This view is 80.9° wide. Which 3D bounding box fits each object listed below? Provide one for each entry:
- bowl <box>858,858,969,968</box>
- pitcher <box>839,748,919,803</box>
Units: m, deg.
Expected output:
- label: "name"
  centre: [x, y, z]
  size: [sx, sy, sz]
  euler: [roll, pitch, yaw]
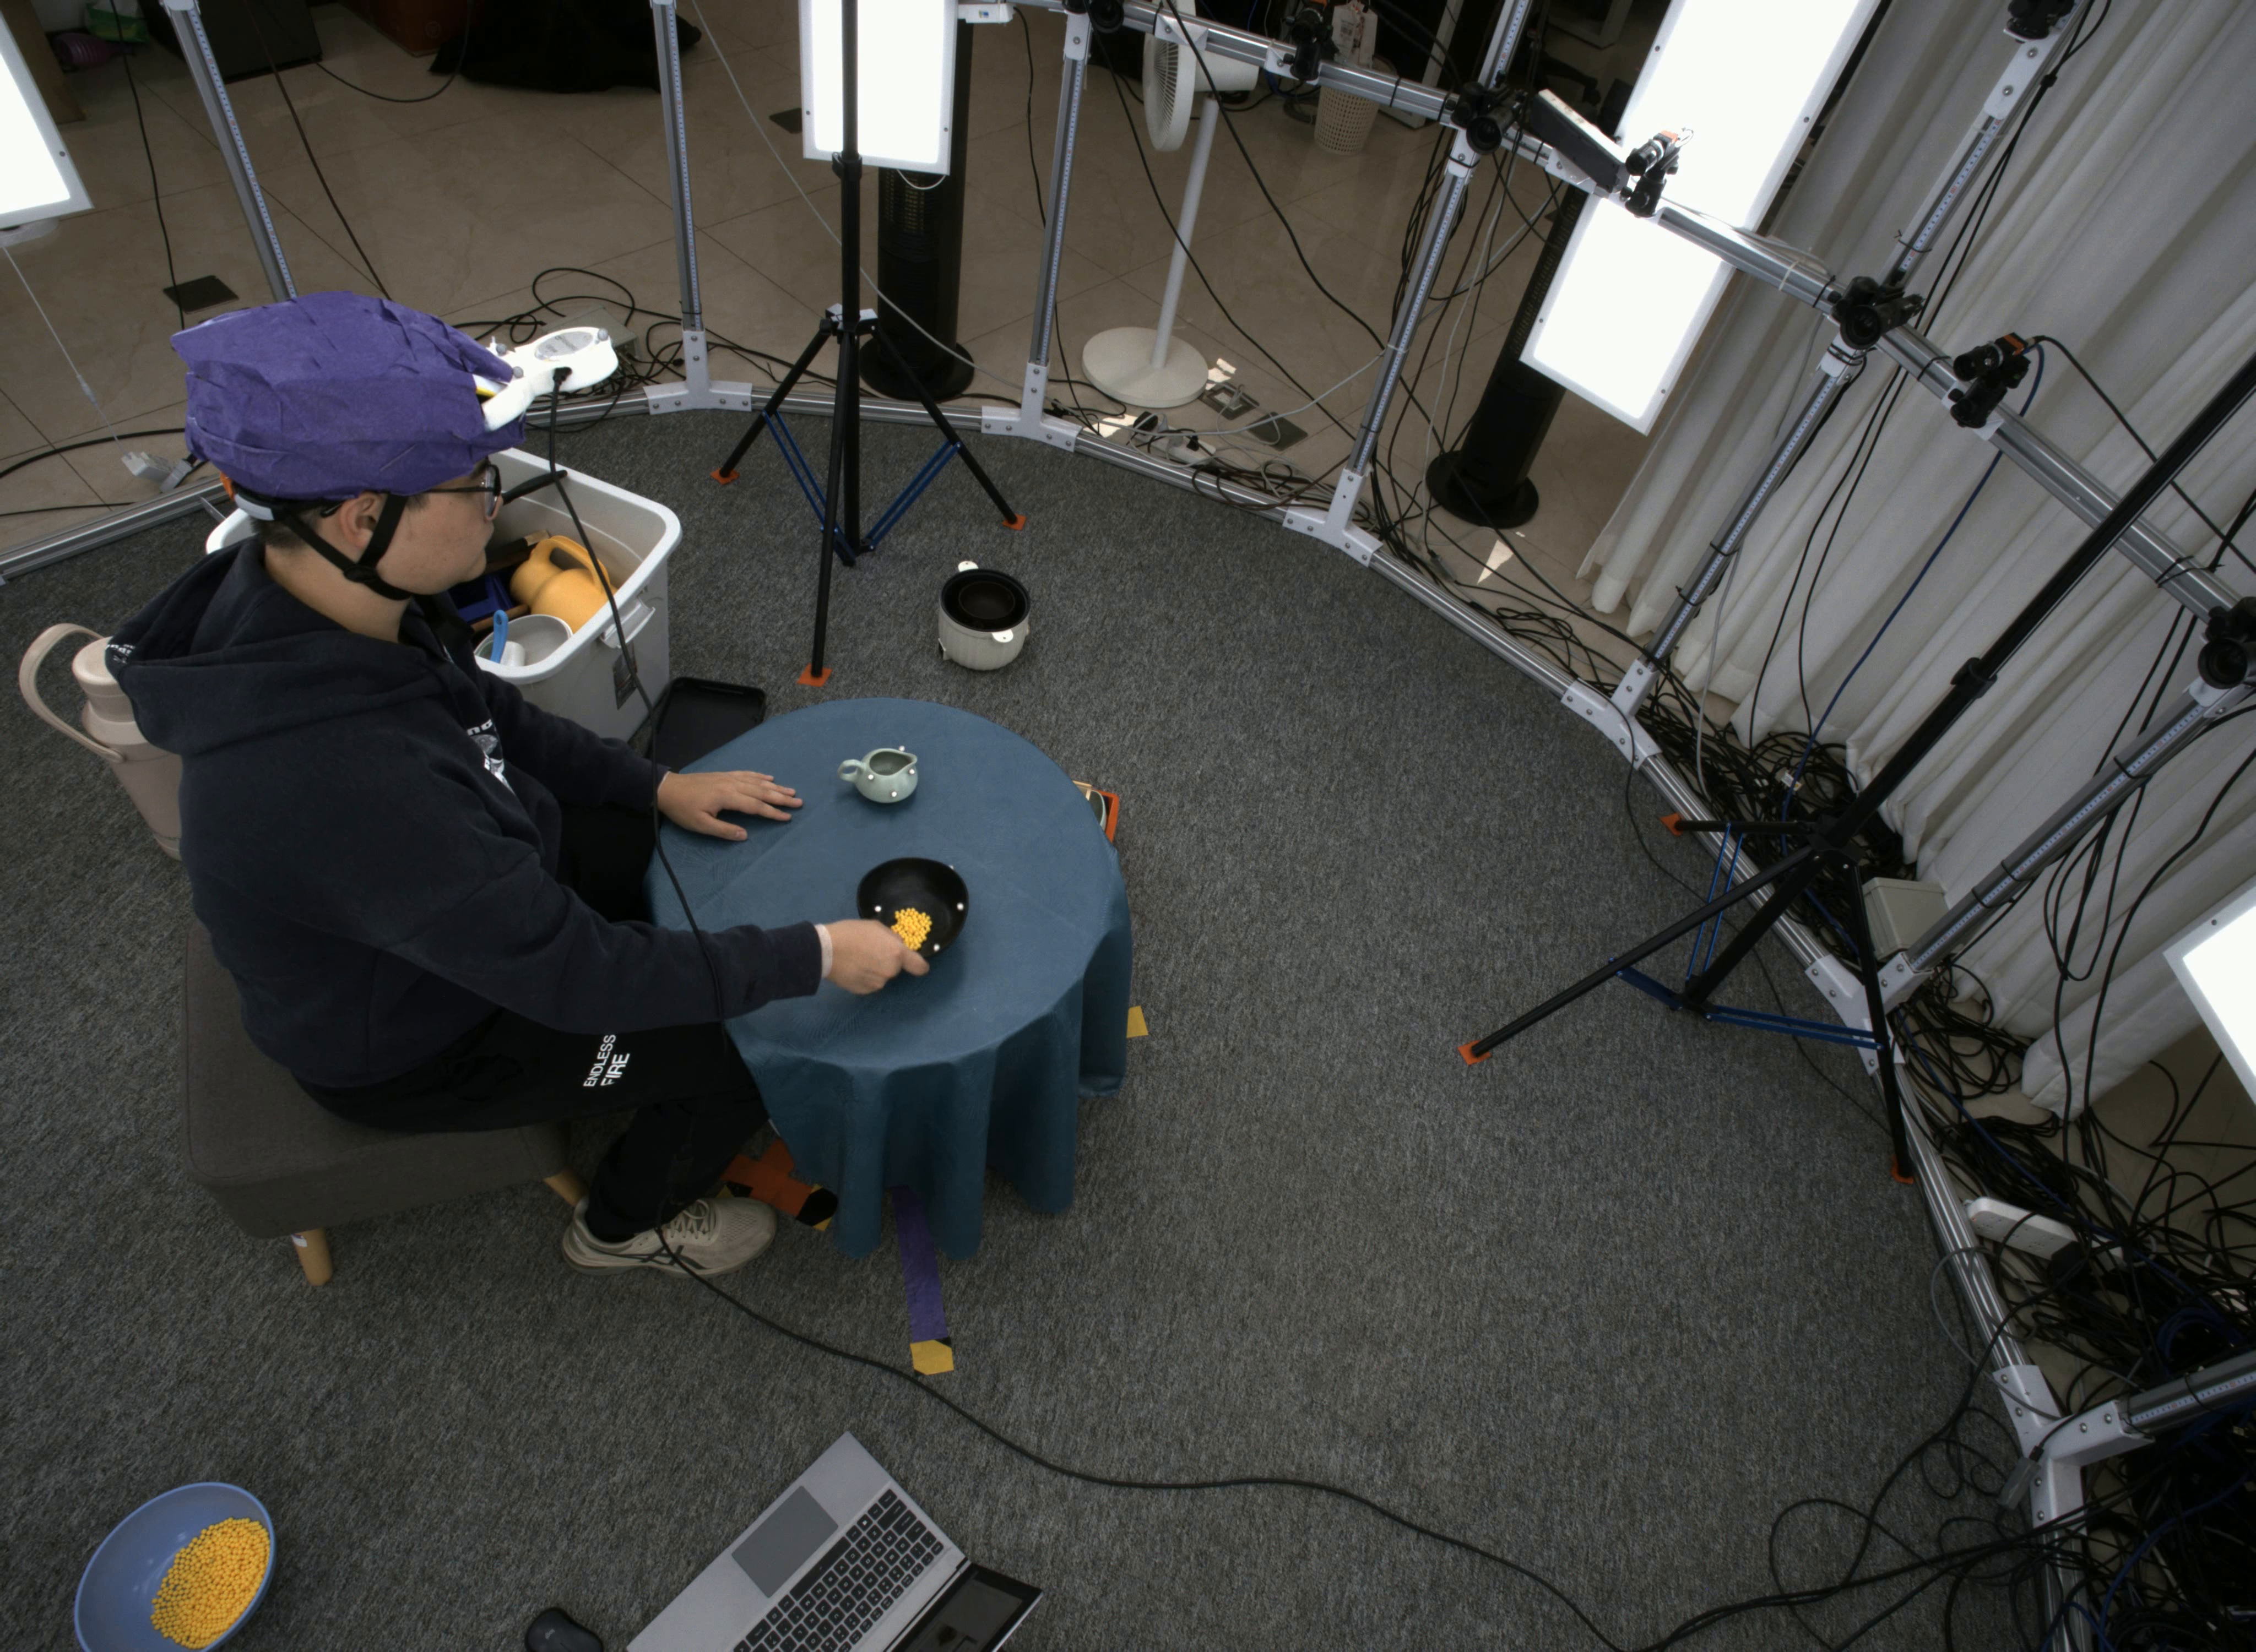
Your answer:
- label: "bowl"
  centre: [-0.267, 0.116, 1.625]
  size: [0.137, 0.068, 0.165]
  euler: [-5, 46, -16]
- label: "pitcher"
  centre: [-0.337, -0.071, 1.759]
  size: [0.108, 0.062, 0.084]
  euler: [-8, 54, -16]
